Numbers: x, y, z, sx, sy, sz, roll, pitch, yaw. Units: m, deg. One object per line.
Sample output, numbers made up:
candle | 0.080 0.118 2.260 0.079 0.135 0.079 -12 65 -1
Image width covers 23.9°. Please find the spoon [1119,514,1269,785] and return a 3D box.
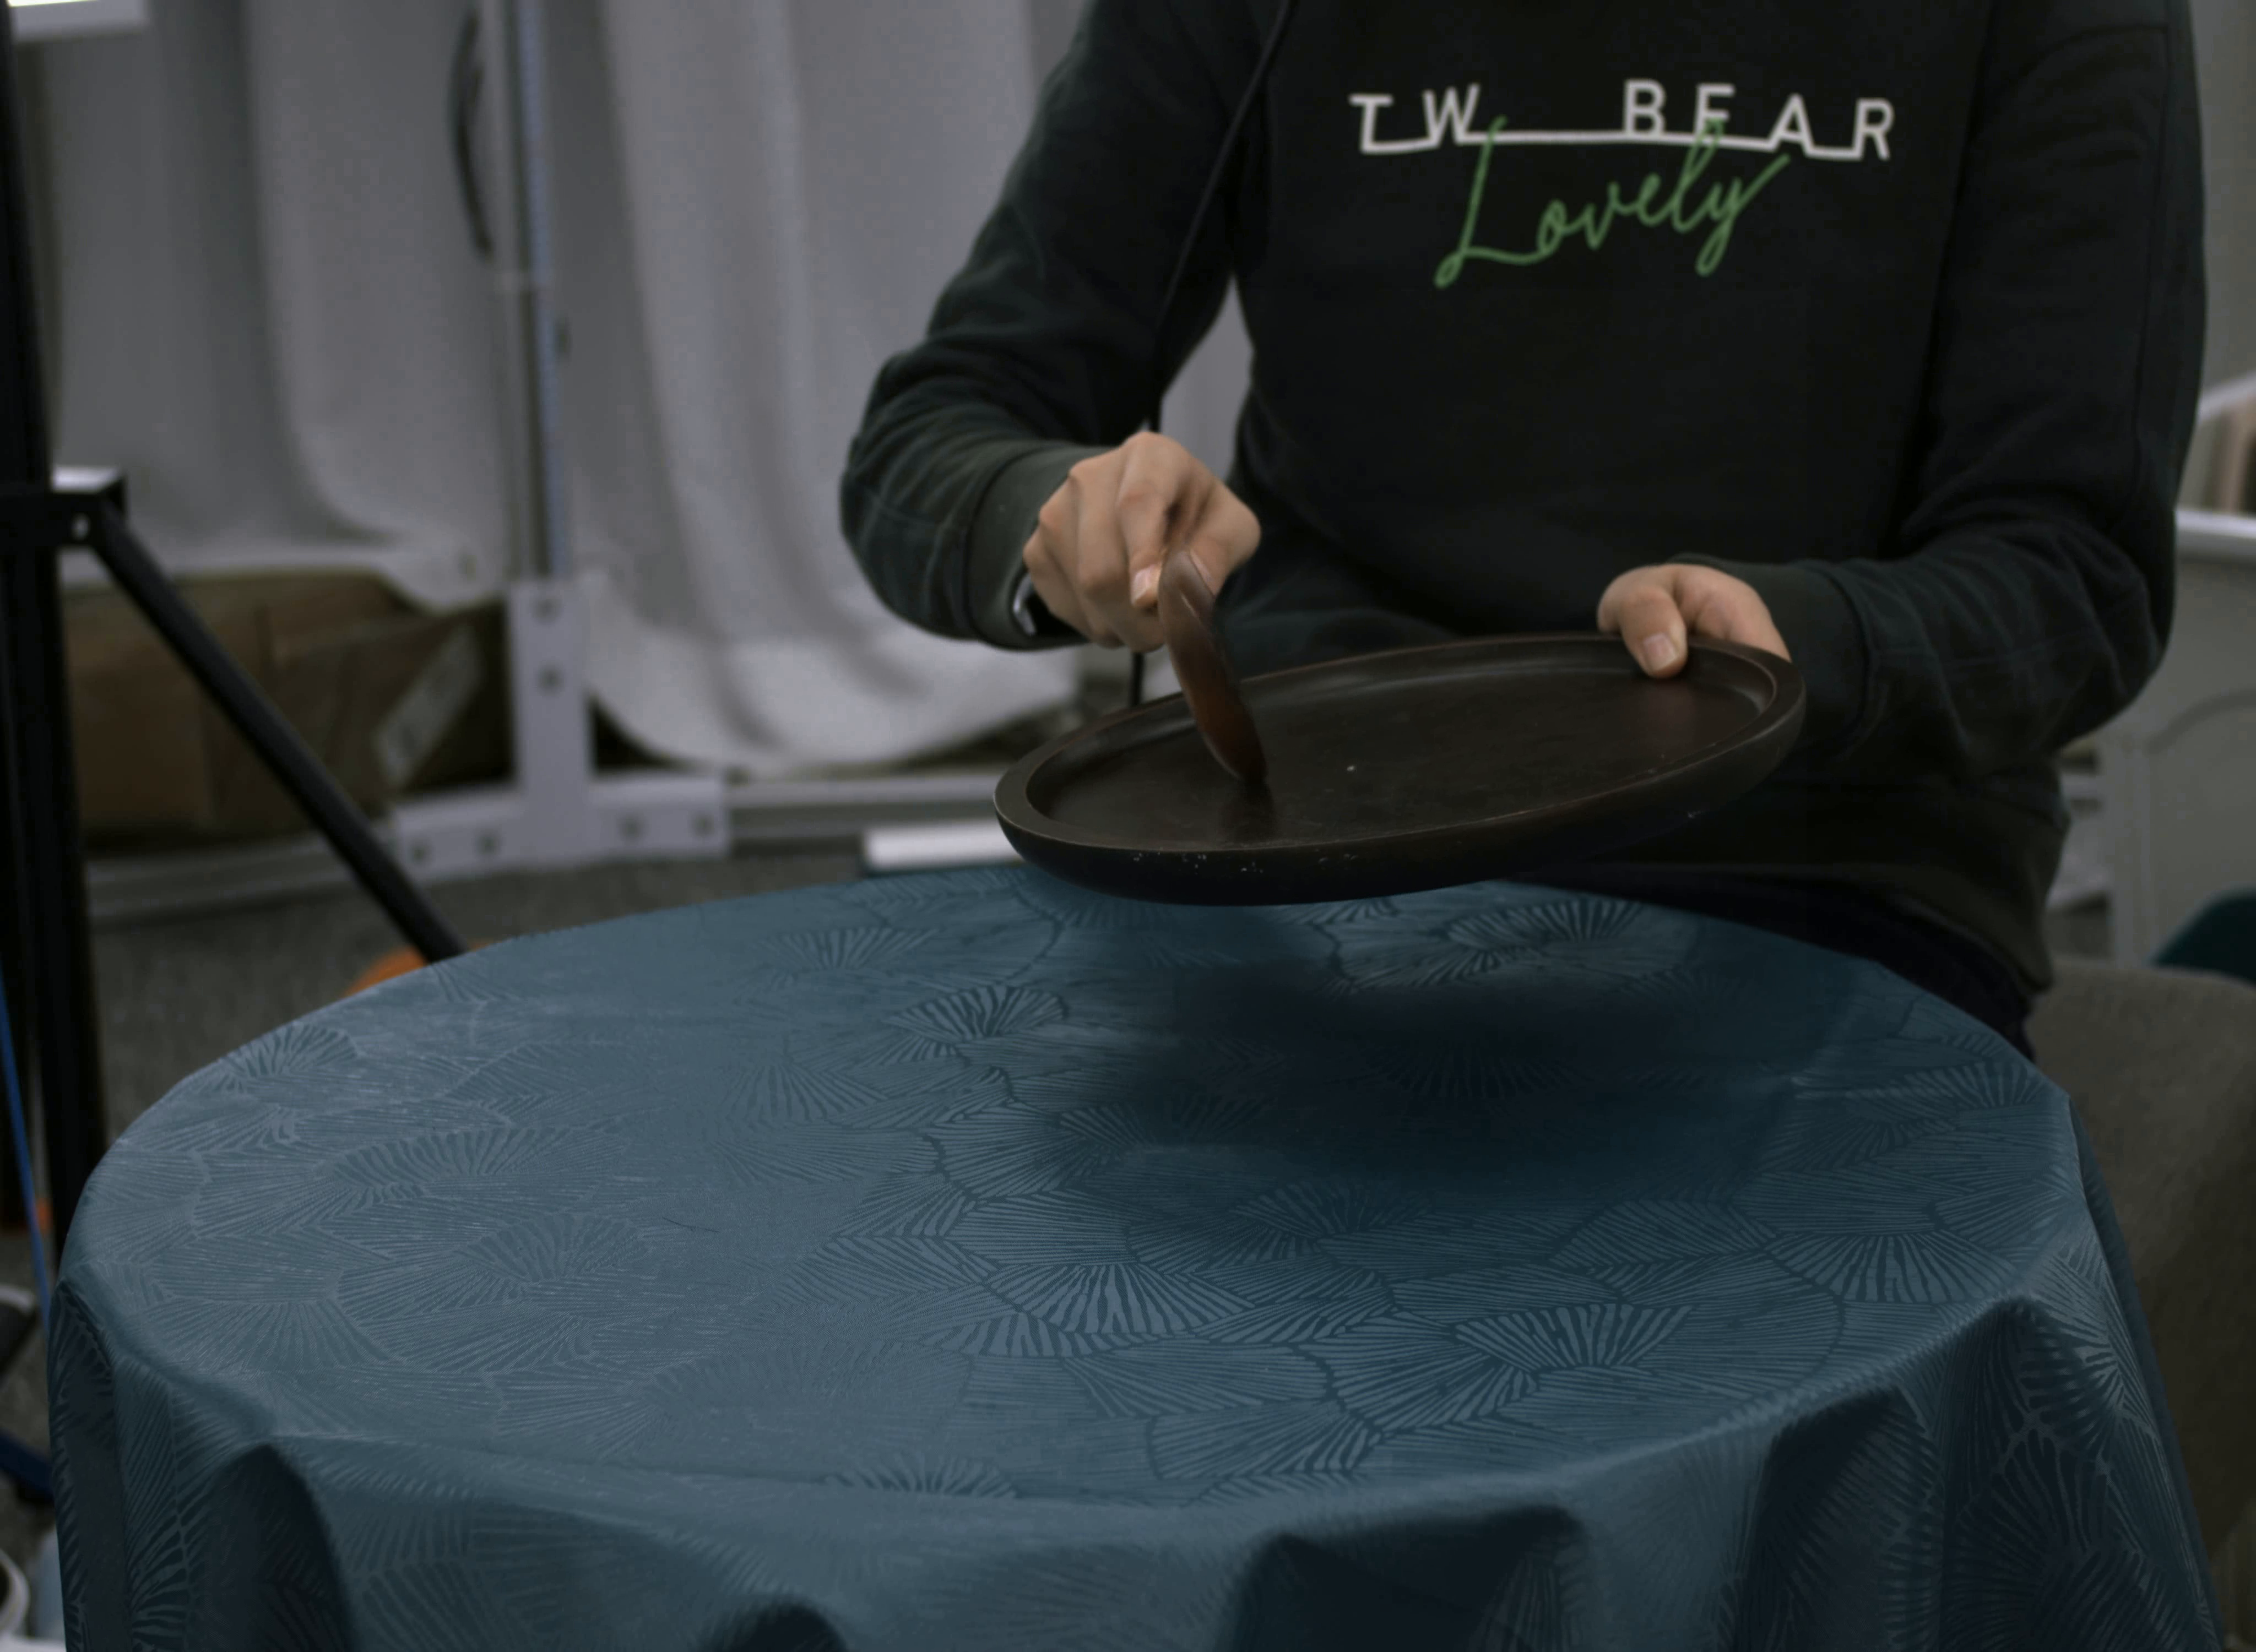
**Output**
spoon | 0.017 -0.065 1.705 0.017 0.075 0.218 -20 17 -1

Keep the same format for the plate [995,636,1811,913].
plate | 0.085 -0.018 1.636 0.254 0.029 0.256 -9 15 1
